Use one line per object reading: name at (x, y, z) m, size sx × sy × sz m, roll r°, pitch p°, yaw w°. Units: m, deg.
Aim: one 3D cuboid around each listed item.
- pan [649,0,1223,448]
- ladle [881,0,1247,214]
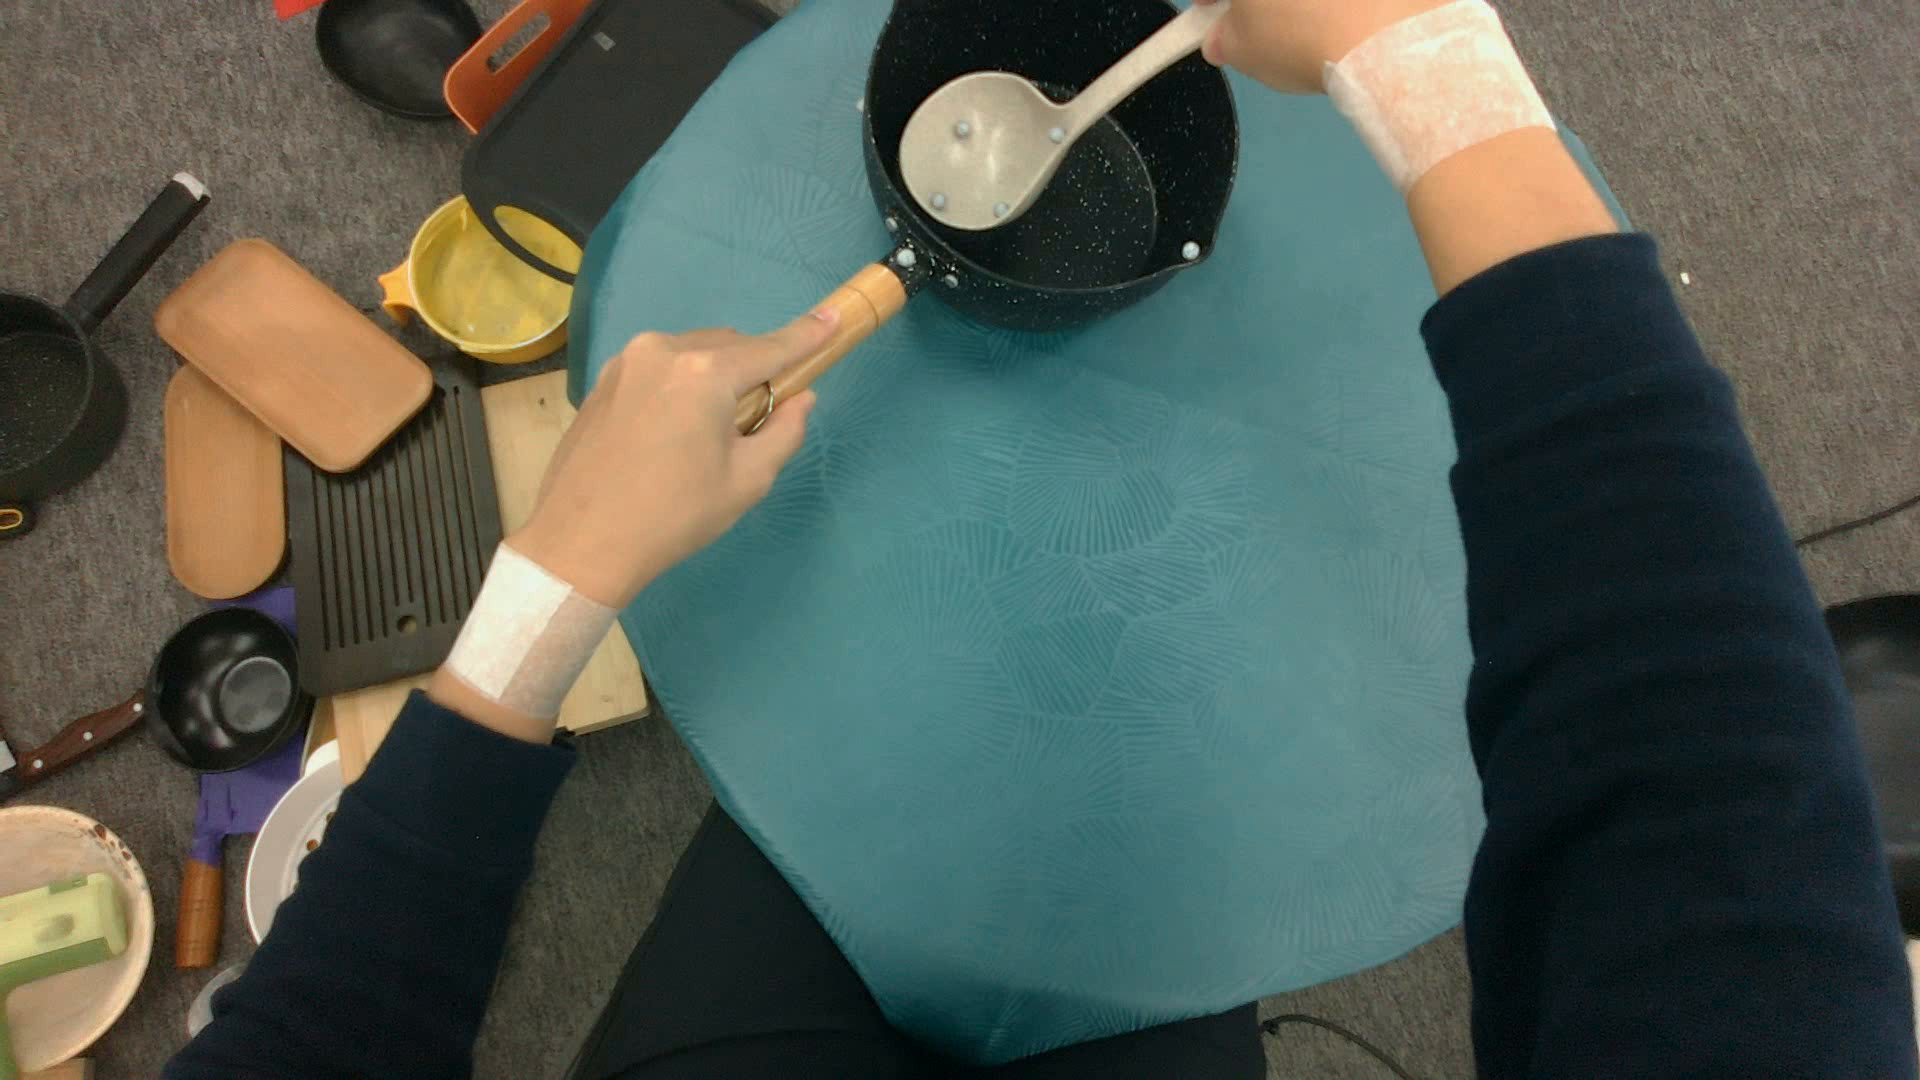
pan at (-0.017, -0.148, 0.668) m, size 0.207 × 0.108 × 0.344 m, roll 42°, pitch 71°, yaw 2°
ladle at (0.057, -0.223, 0.609) m, size 0.069 × 0.274 × 0.089 m, roll 21°, pitch 70°, yaw -26°
